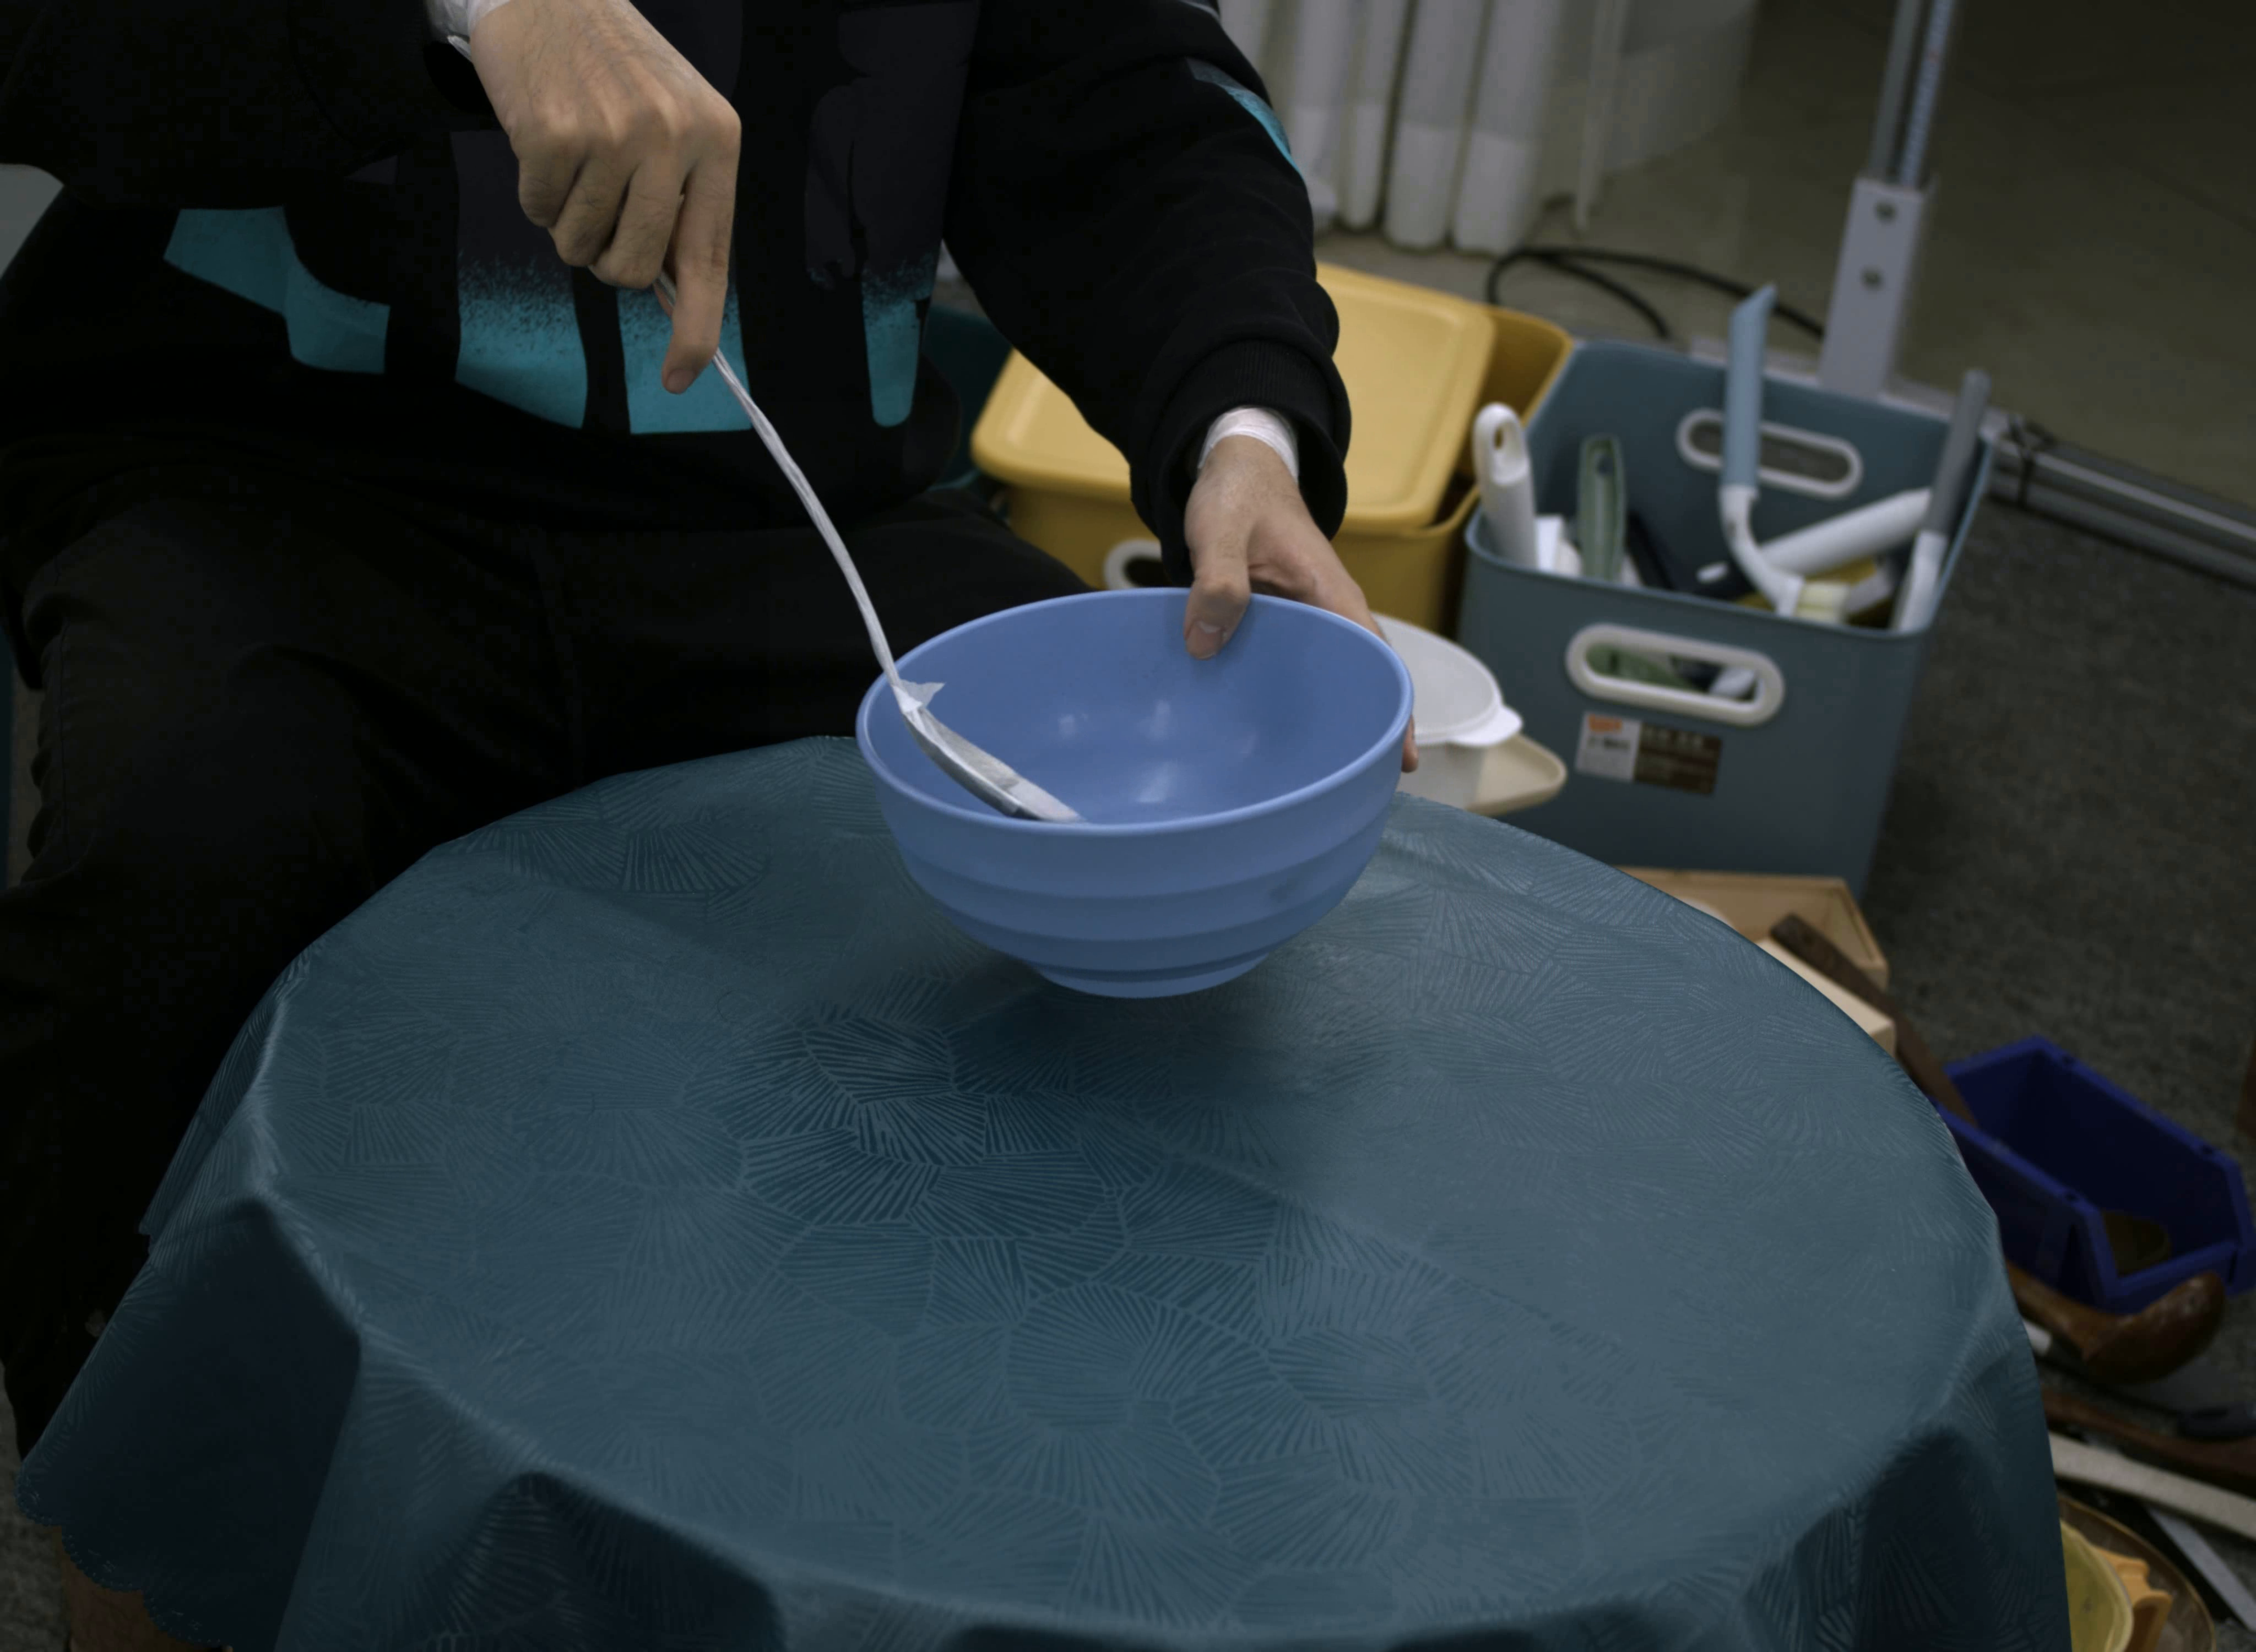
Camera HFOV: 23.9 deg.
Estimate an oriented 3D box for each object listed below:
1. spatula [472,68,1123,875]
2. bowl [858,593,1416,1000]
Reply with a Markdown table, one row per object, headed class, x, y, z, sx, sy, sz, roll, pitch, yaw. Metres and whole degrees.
| class | x | y | z | sx | sy | sz | roll | pitch | yaw |
| --- | --- | --- | --- | --- | --- | --- | --- | --- | --- |
| spatula | -0.111 | -0.123 | 1.836 | 0.045 | 0.365 | 0.098 | -33 | -1 | 6 |
| bowl | 0.007 | -0.001 | 1.880 | 0.196 | 0.095 | 0.197 | -5 | 26 | 2 |
